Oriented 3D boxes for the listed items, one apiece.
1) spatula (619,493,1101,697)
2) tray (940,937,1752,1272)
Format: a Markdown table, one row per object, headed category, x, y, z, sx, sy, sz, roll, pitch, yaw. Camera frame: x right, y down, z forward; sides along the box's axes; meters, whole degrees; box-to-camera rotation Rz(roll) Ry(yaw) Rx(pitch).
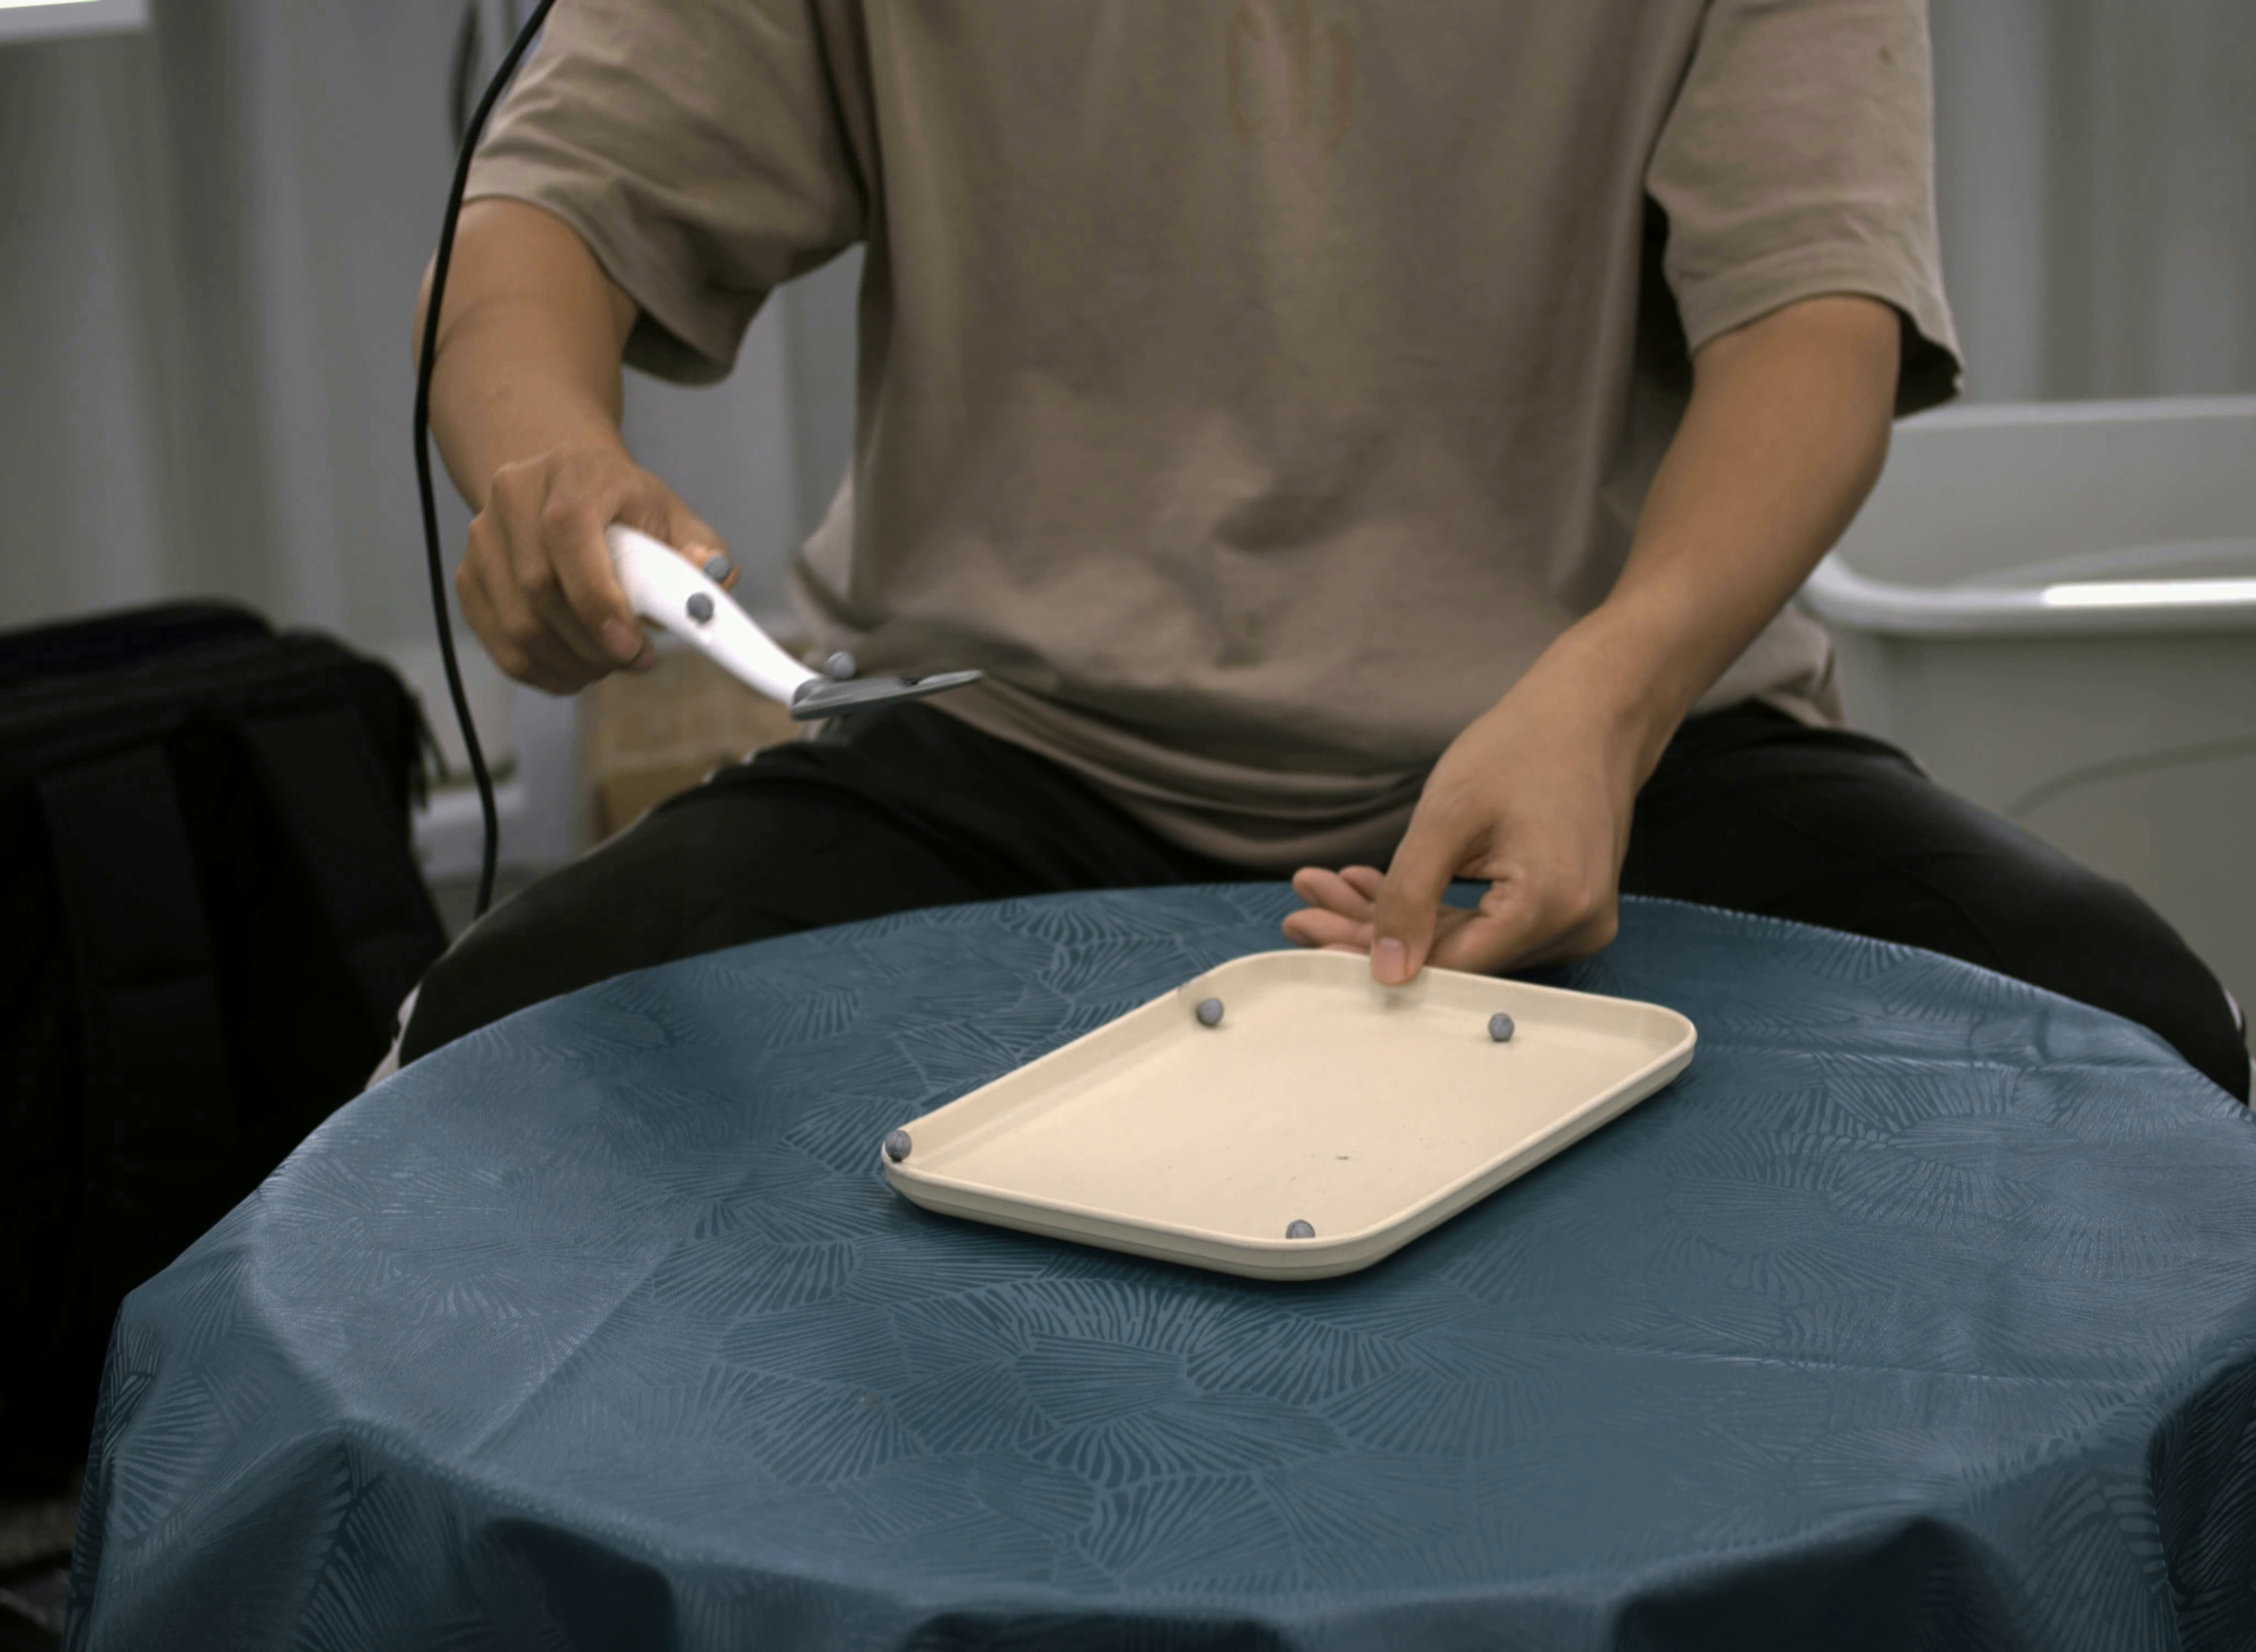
| category | x | y | z | sx | sy | sz | roll | pitch | yaw |
| --- | --- | --- | --- | --- | --- | --- | --- | --- | --- |
| spatula | -0.088 | -0.063 | 1.581 | 0.057 | 0.032 | 0.293 | -7 | 14 | -23 |
| tray | 0.069 | 0.082 | 1.590 | 0.175 | 0.017 | 0.235 | 10 | 20 | 33 |
